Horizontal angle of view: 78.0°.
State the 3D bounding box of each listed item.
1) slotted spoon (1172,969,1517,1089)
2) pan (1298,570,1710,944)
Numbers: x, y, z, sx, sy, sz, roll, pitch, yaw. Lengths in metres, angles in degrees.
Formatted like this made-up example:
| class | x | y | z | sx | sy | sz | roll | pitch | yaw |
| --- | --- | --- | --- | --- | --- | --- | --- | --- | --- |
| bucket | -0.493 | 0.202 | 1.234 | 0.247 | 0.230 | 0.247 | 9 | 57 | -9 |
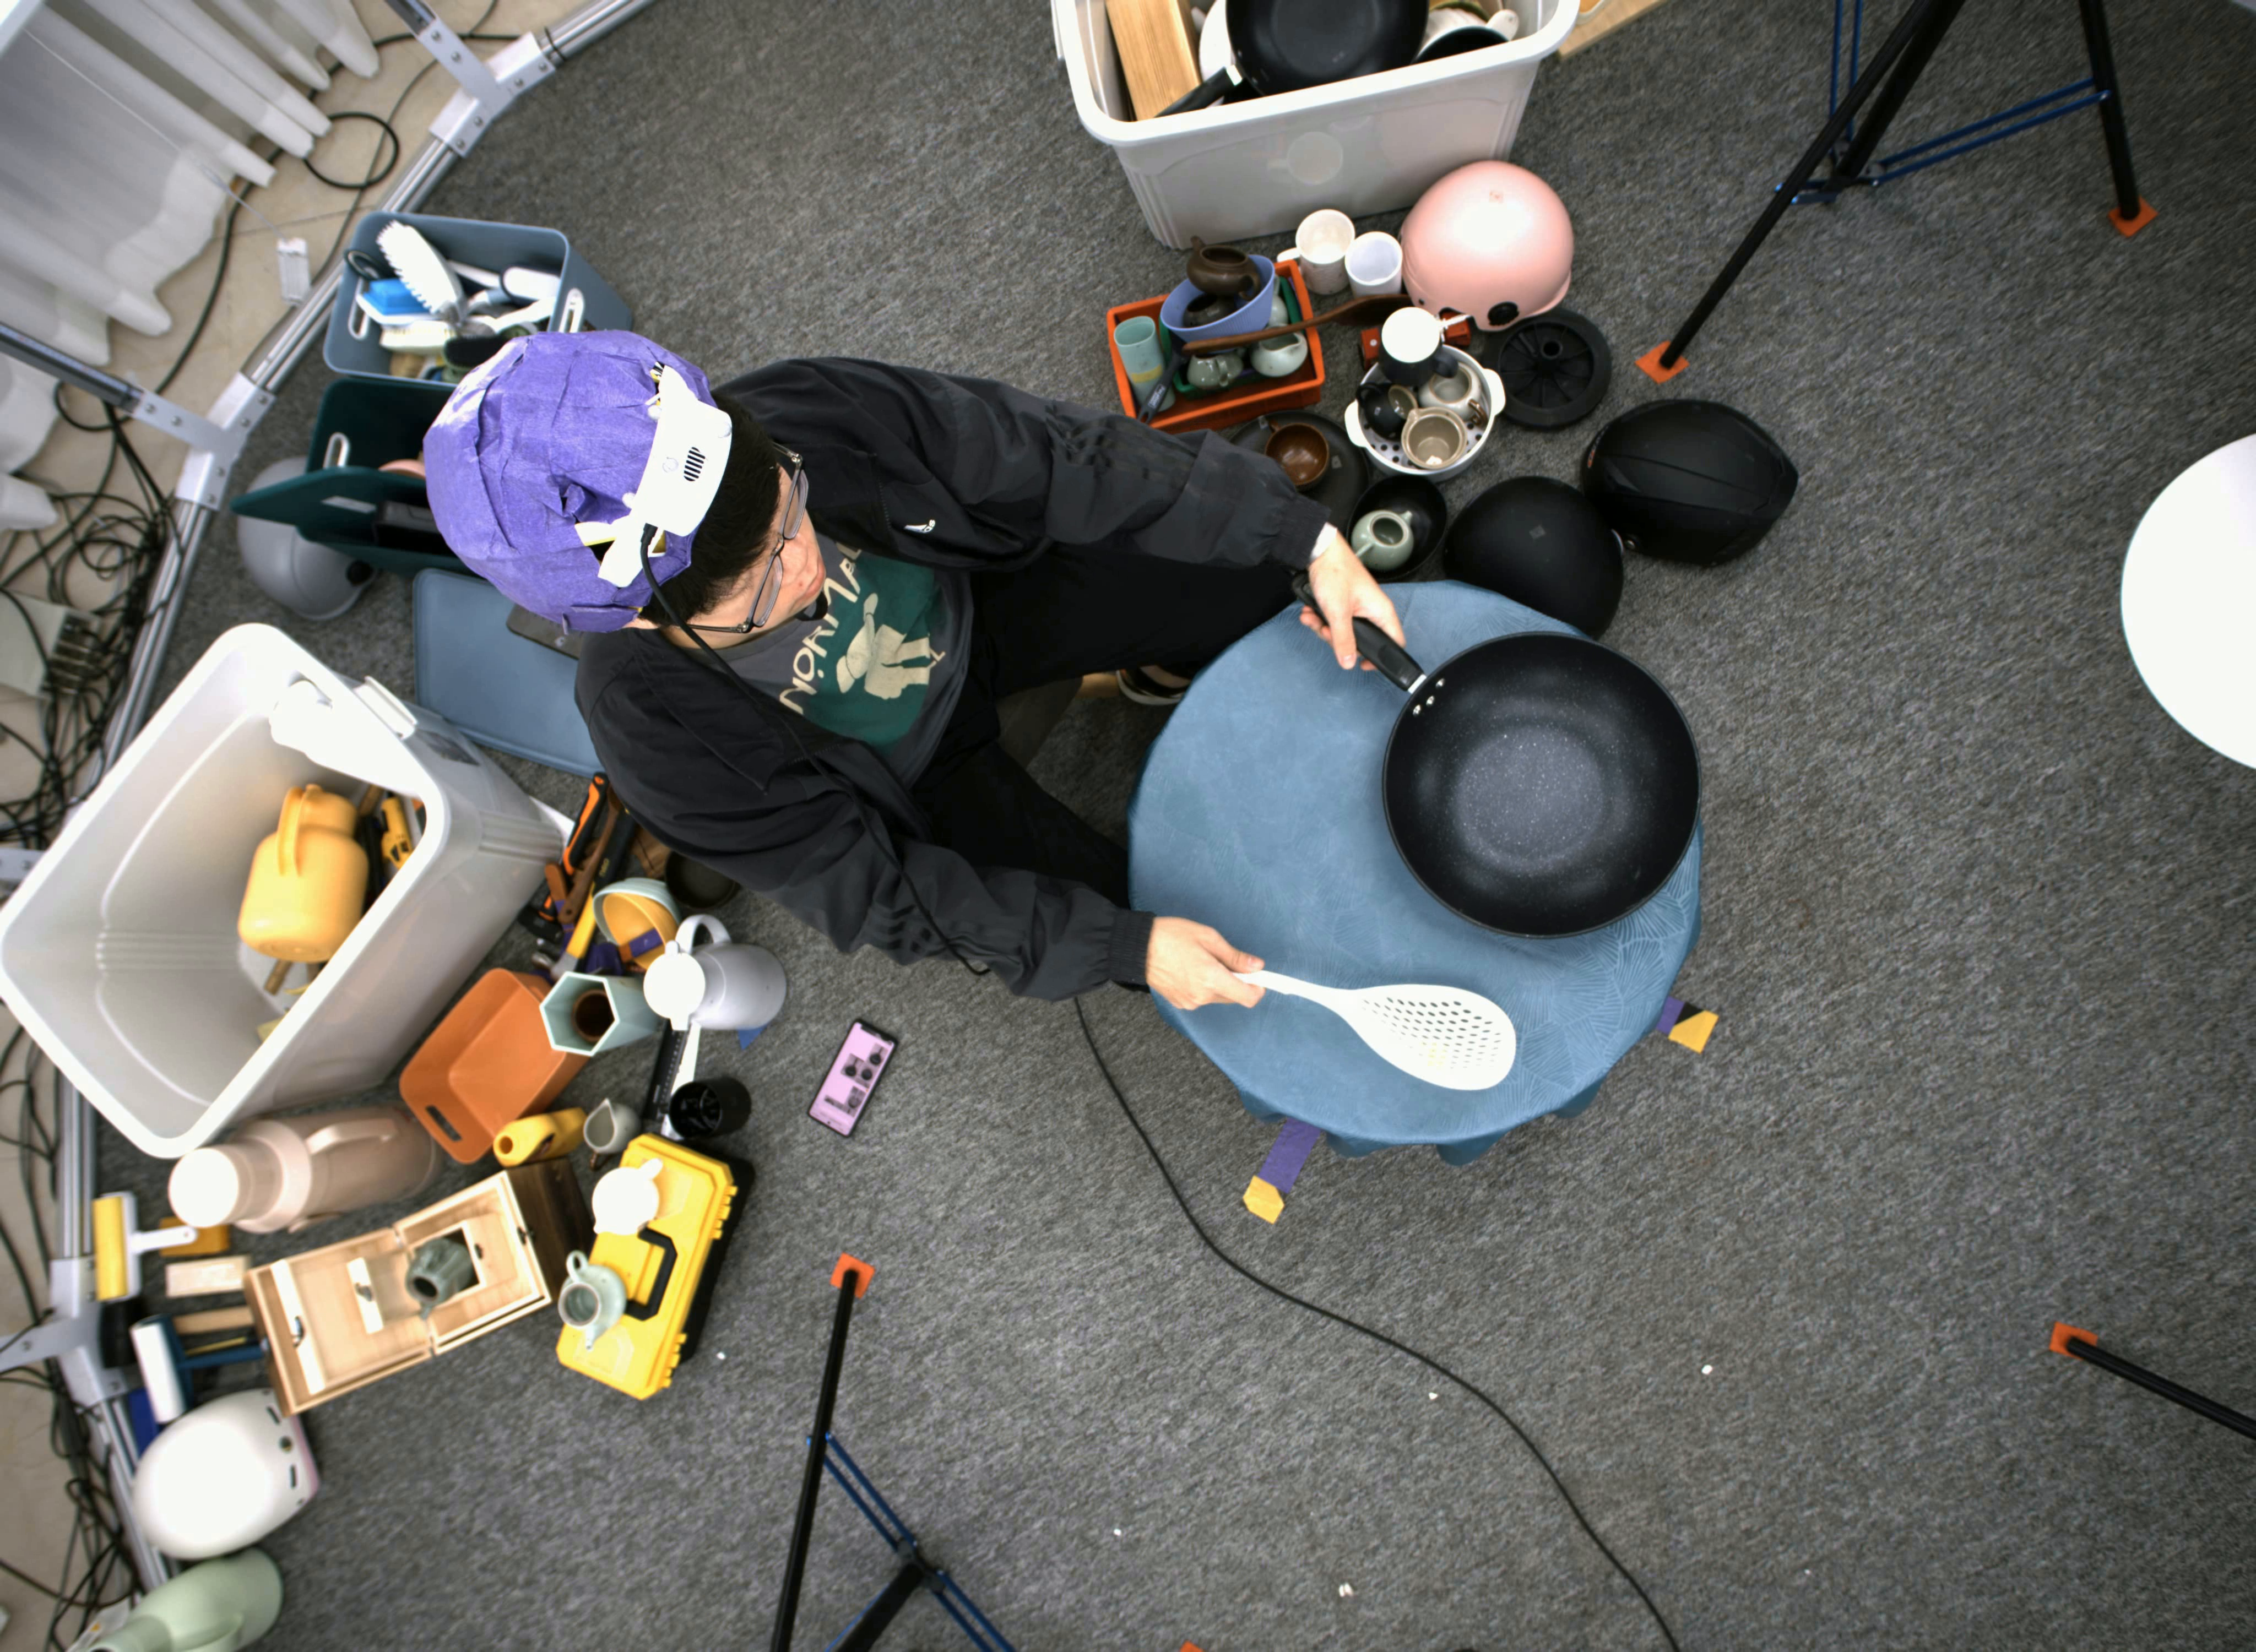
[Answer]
| class | x | y | z | sx | sy | sz | roll | pitch | yaw |
| --- | --- | --- | --- | --- | --- | --- | --- | --- | --- |
| slotted spoon | 0.214 | 0.183 | 1.392 | 0.348 | 0.133 | 0.051 | 18 | 135 | 11 |
| pan | 0.358 | -0.092 | 1.397 | 0.475 | 0.112 | 0.311 | 42 | 93 | 10 |
